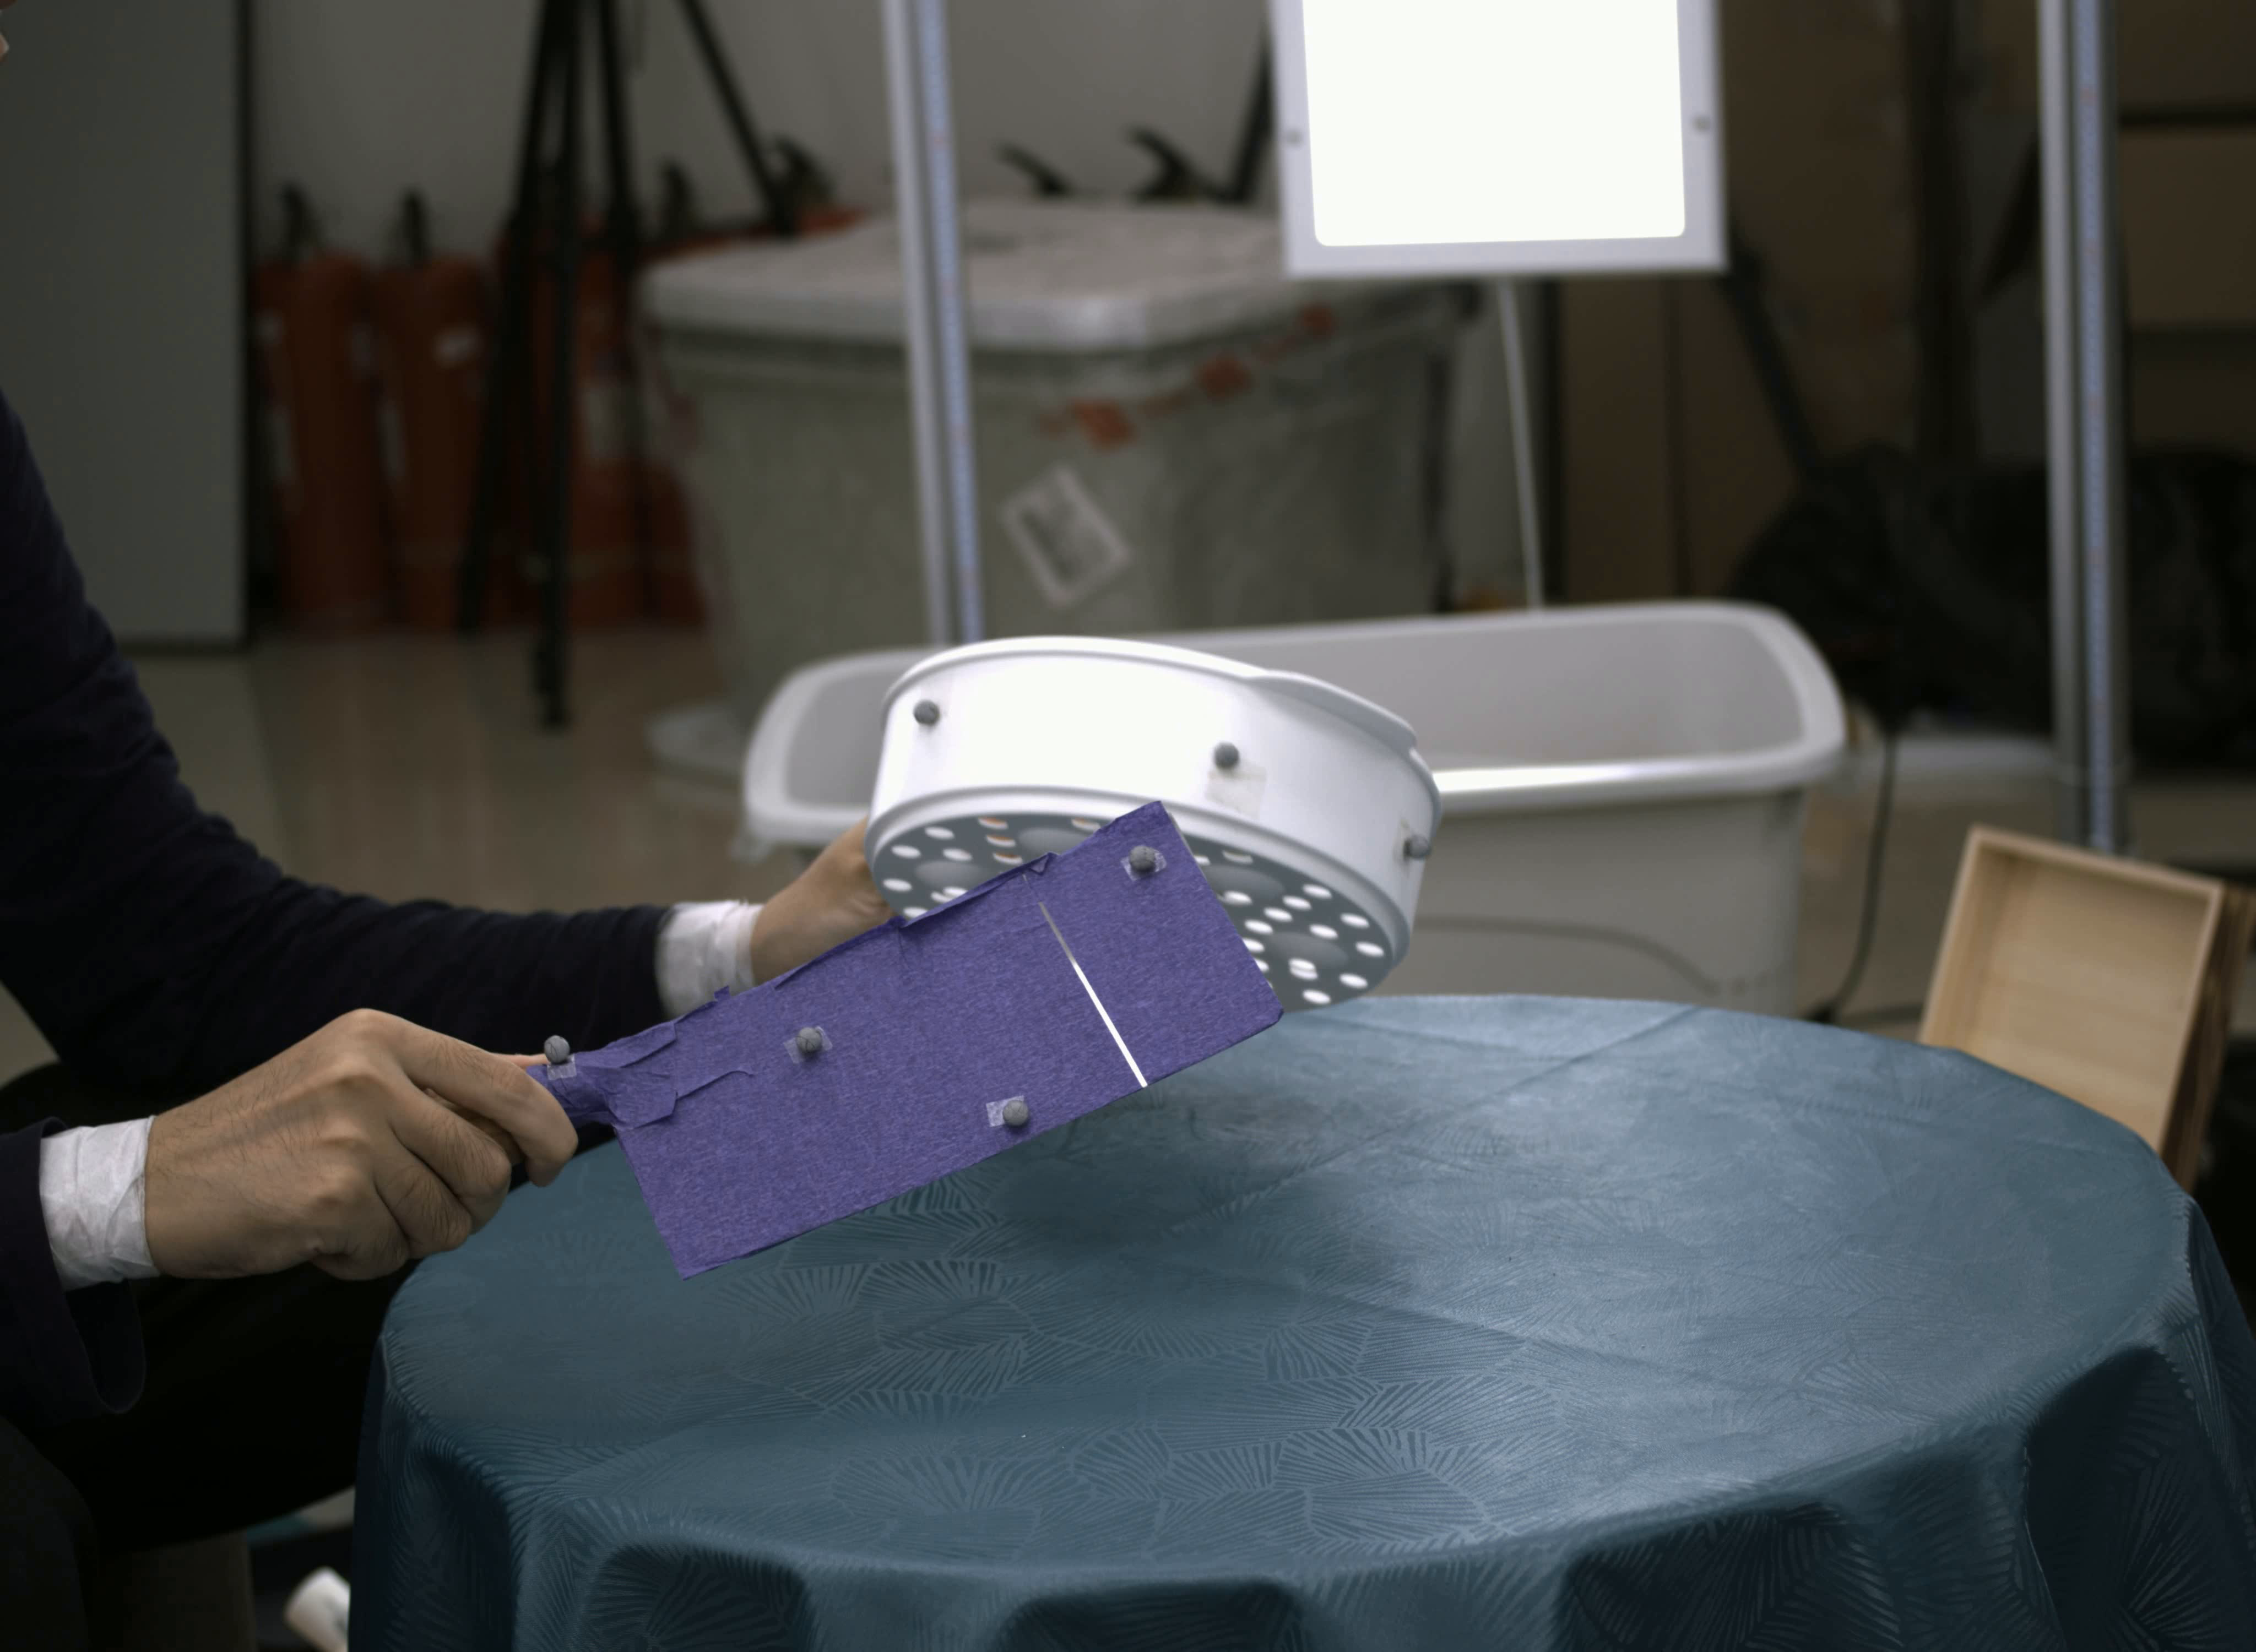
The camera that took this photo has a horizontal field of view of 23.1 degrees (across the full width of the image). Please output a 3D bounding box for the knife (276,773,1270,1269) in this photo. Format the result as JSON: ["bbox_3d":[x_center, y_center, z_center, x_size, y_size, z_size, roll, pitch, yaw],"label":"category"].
[{"bbox_3d":[-0.110,0.083,1.732,0.313,0.032,0.104,-25,57,-5],"label":"knife"}]

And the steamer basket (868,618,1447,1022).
[{"bbox_3d":[0.008,0.003,1.918,0.198,0.069,0.236,25,-28,-28],"label":"steamer basket"}]
